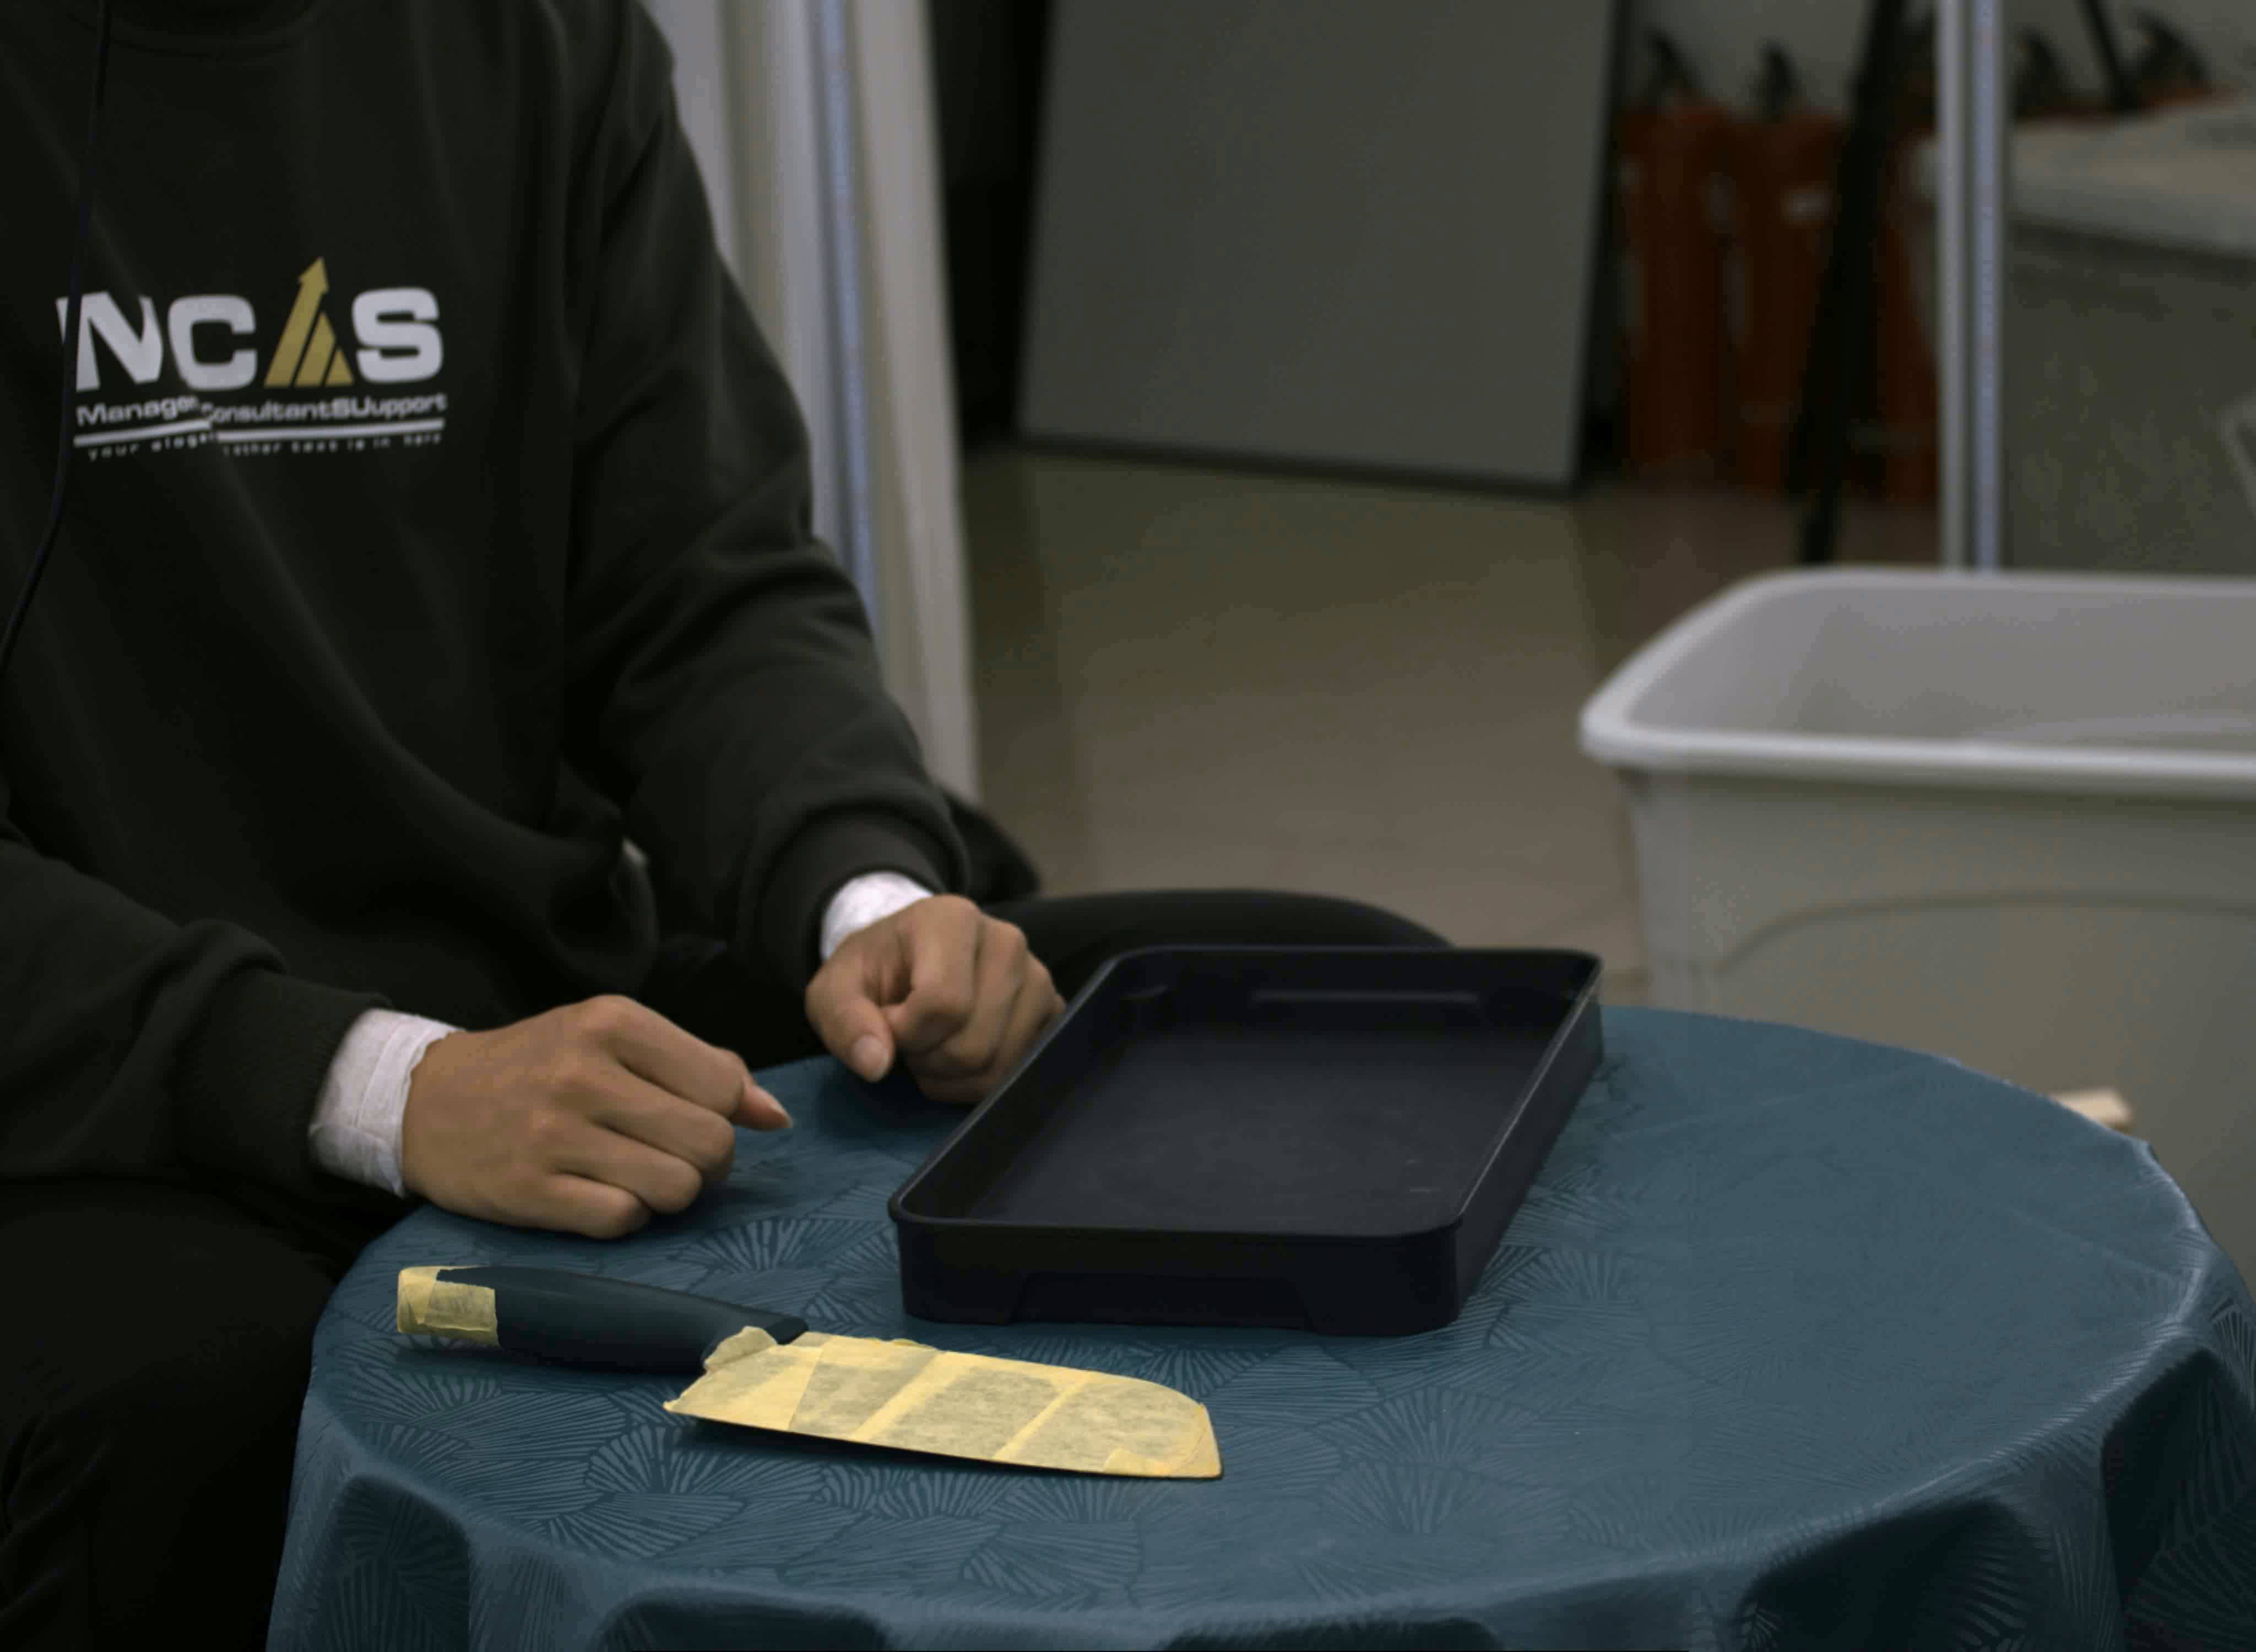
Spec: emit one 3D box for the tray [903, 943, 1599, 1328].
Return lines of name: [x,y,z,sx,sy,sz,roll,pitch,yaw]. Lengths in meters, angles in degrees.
tray: [0.049,0.098,1.781,0.183,0.037,0.316,-2,14,14]

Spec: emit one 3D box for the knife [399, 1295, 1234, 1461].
knife: [-0.099,0.165,1.591,0.290,0.027,0.080,4,14,27]
